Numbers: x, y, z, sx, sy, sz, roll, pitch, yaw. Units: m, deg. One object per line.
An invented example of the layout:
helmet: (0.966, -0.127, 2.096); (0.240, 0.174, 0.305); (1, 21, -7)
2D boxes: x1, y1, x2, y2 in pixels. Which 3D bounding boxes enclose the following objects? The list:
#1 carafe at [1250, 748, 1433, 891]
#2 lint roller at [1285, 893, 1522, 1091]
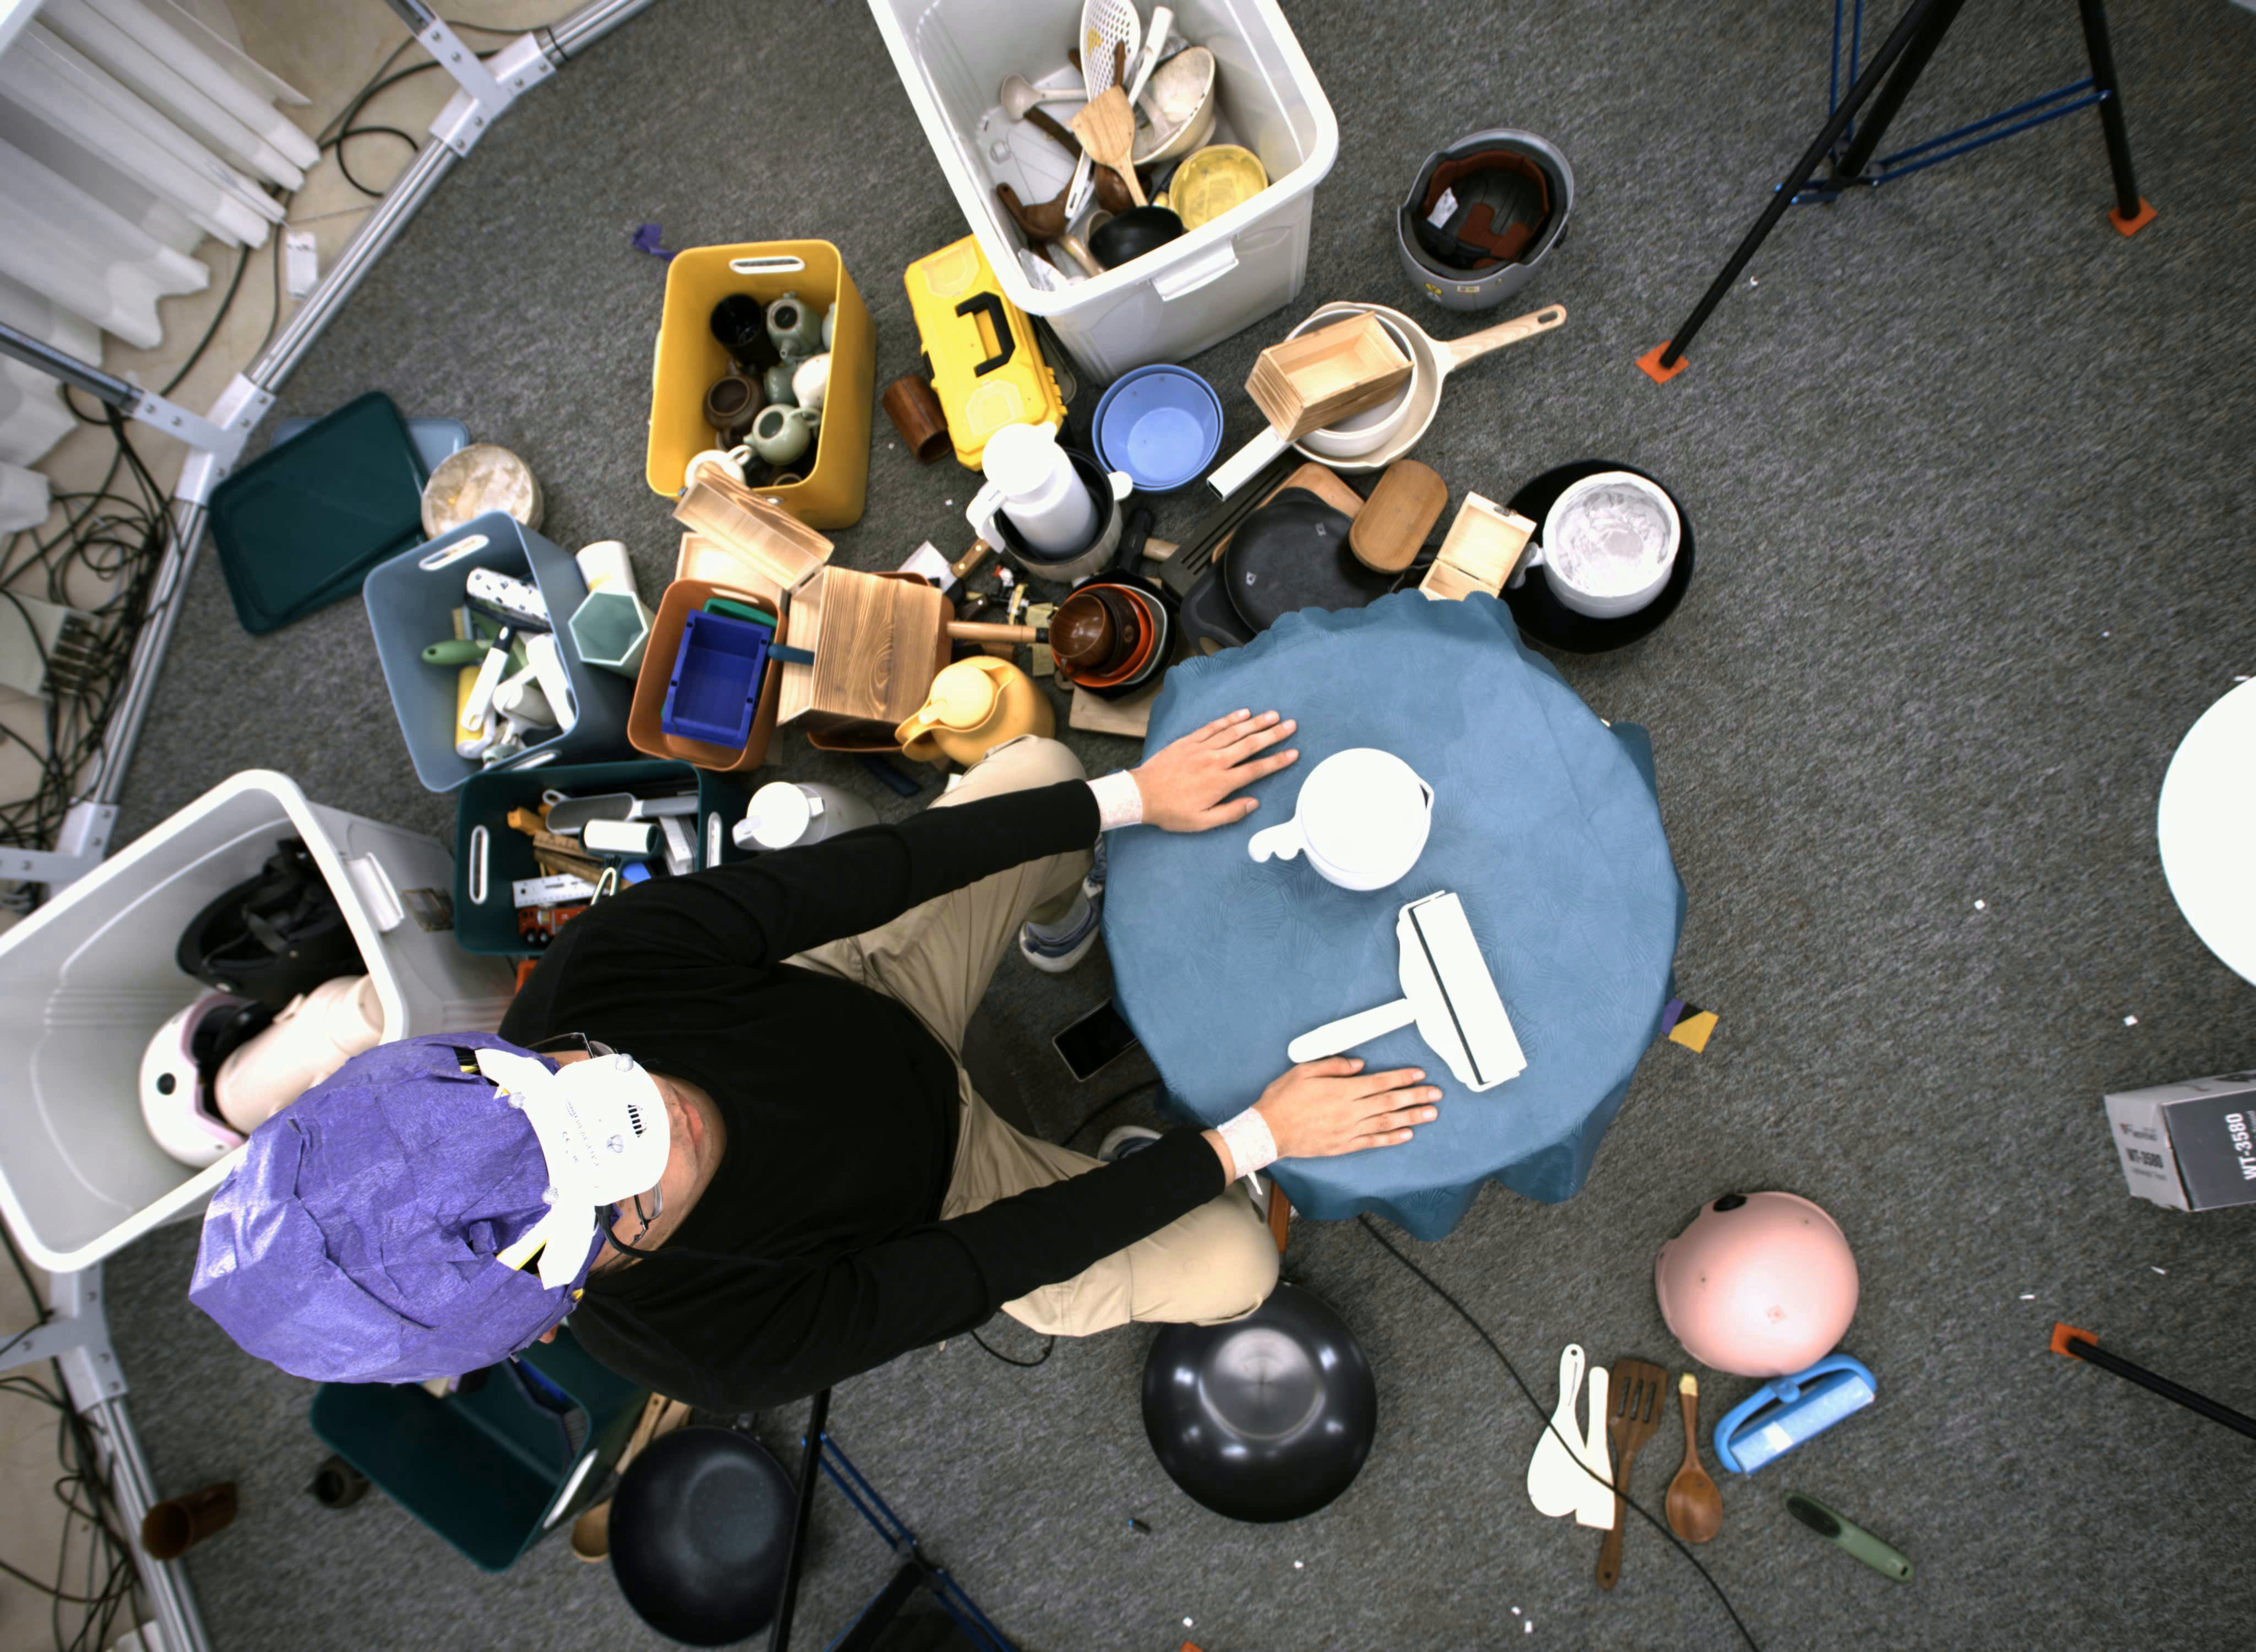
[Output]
carafe: (0.212, 0.002, 1.388); (0.192, 0.182, 0.131); (-18, 81, 10)
lint roller: (0.267, 0.199, 1.432); (0.227, 0.048, 0.201); (-23, 84, 9)
